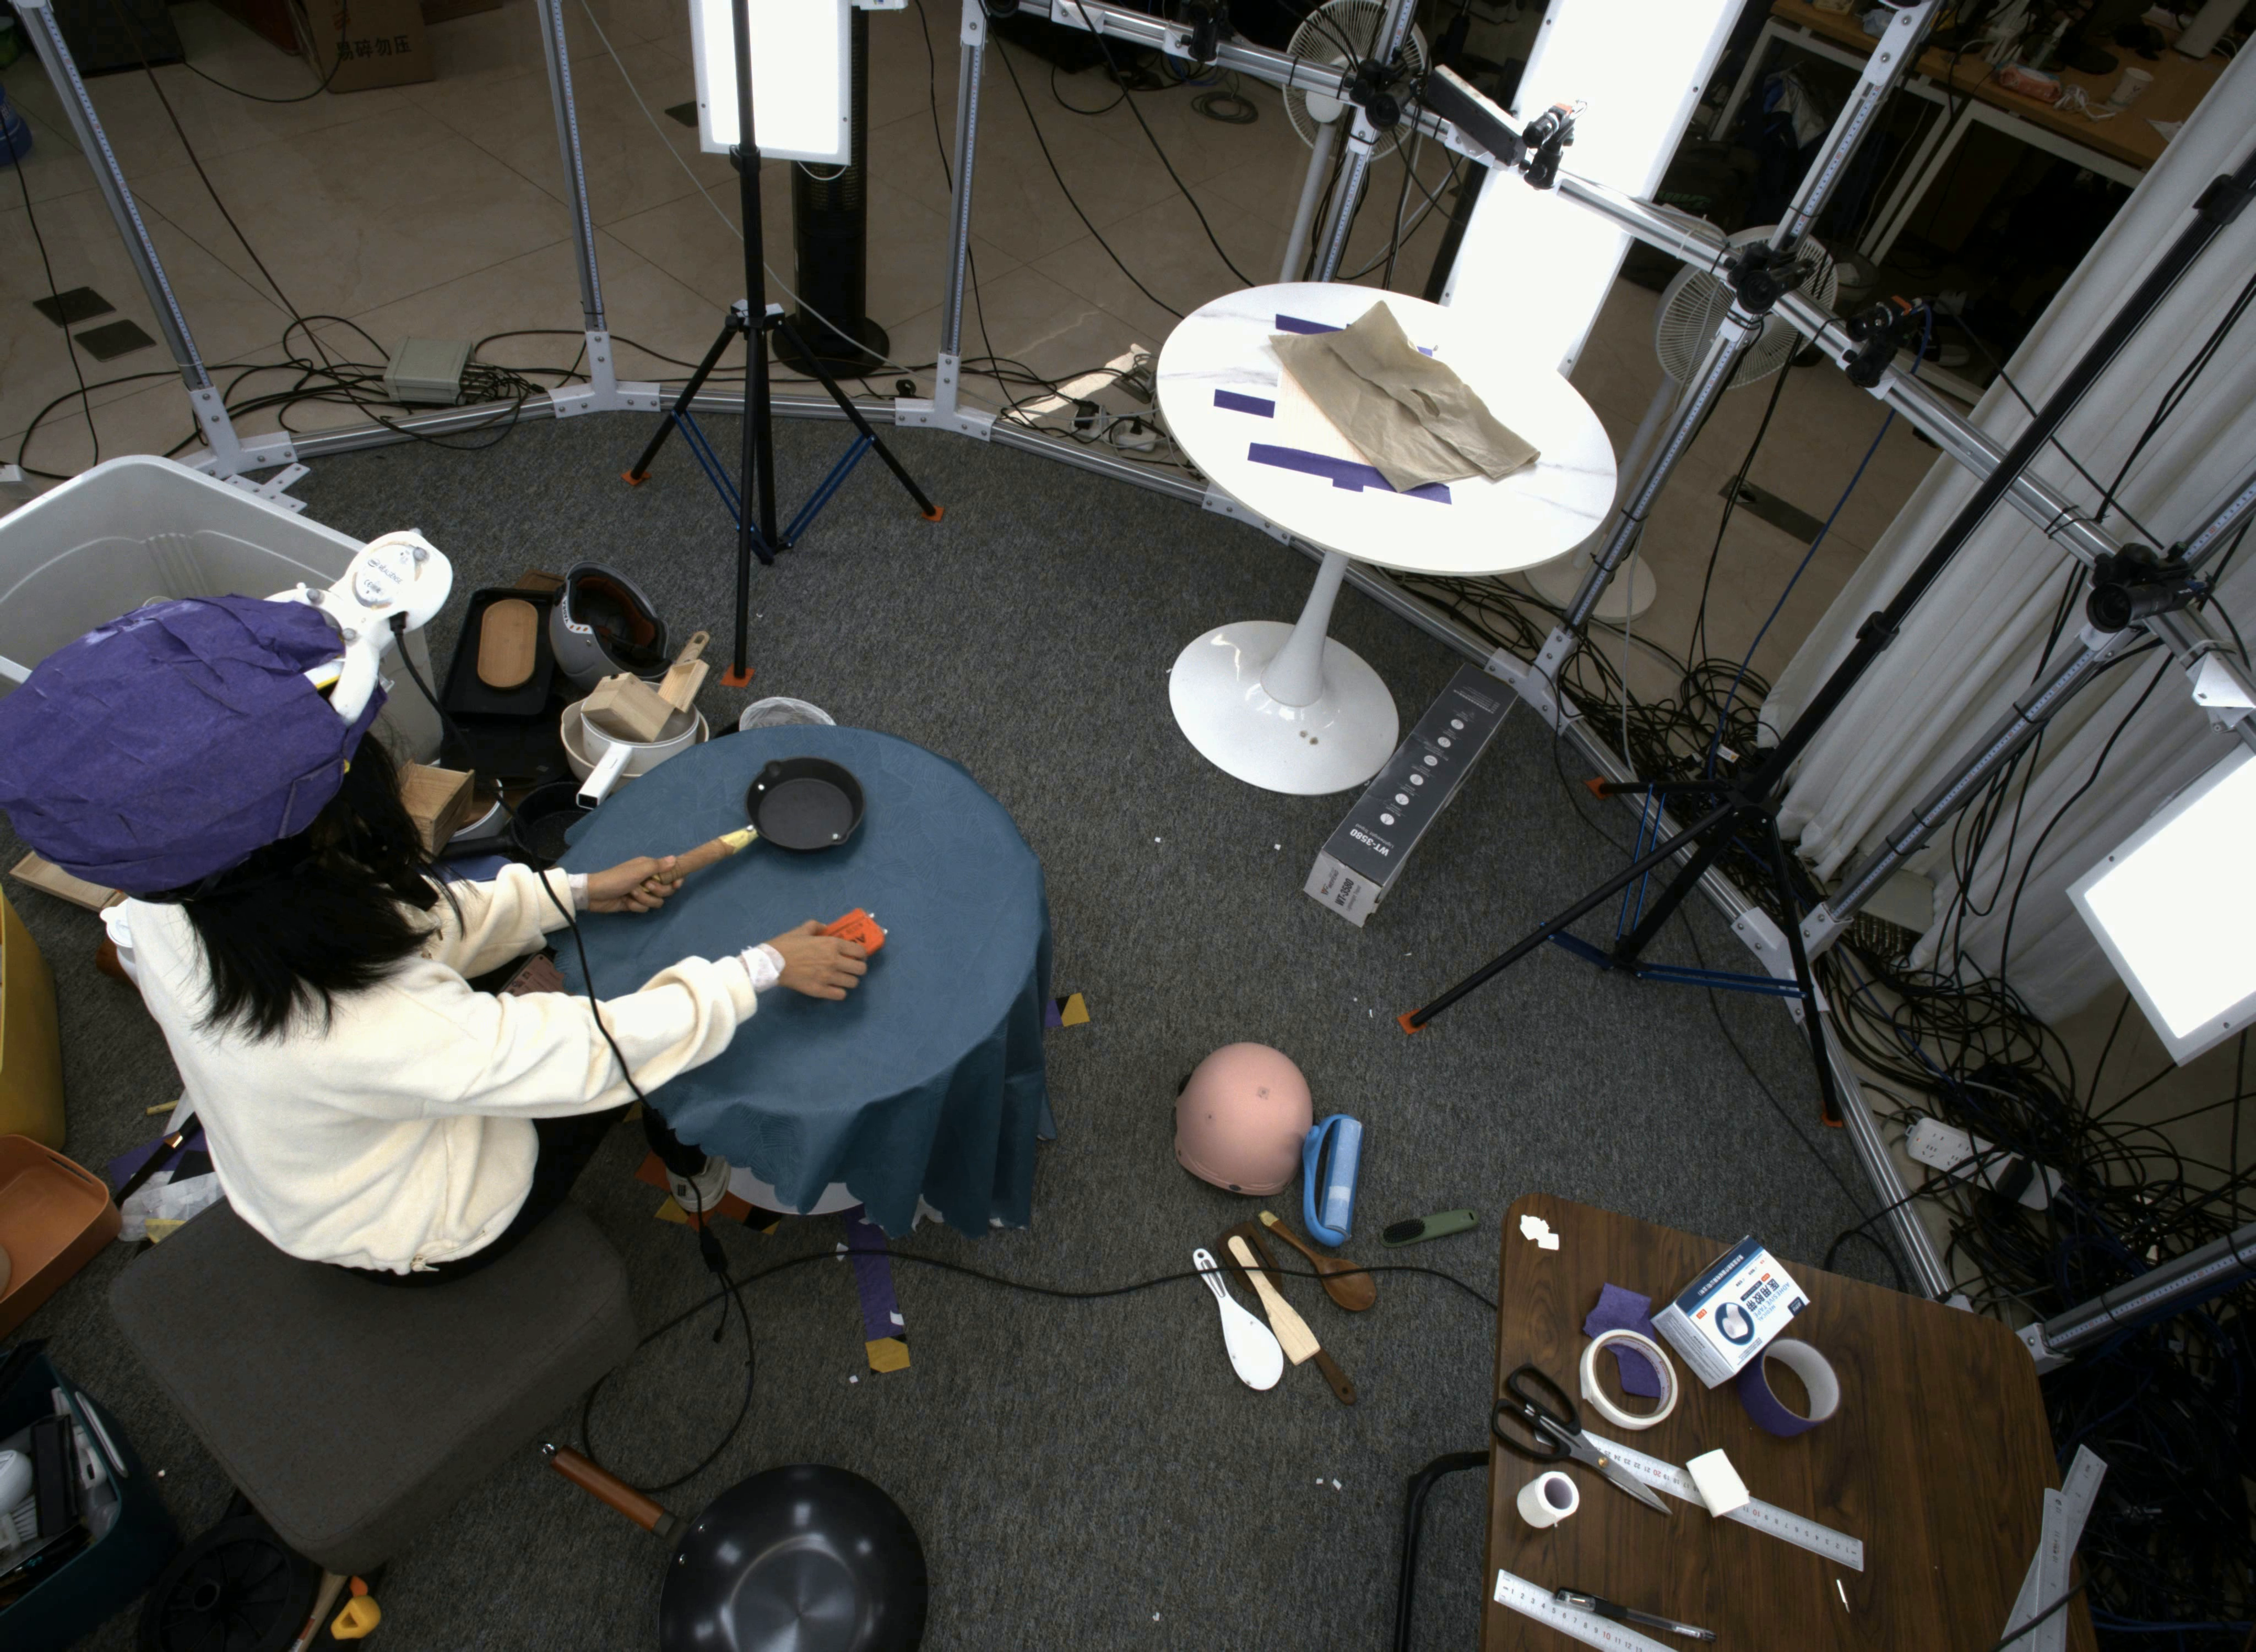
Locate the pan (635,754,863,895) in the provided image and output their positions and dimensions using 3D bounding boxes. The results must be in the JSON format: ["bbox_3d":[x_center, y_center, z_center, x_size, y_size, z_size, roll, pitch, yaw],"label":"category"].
[{"bbox_3d":[-0.489,0.008,1.662,0.325,0.050,0.165,-32,67,-33],"label":"pan"}]

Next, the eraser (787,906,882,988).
[{"bbox_3d":[-0.361,0.147,1.597,0.108,0.023,0.058,-32,78,-23],"label":"eraser"}]
